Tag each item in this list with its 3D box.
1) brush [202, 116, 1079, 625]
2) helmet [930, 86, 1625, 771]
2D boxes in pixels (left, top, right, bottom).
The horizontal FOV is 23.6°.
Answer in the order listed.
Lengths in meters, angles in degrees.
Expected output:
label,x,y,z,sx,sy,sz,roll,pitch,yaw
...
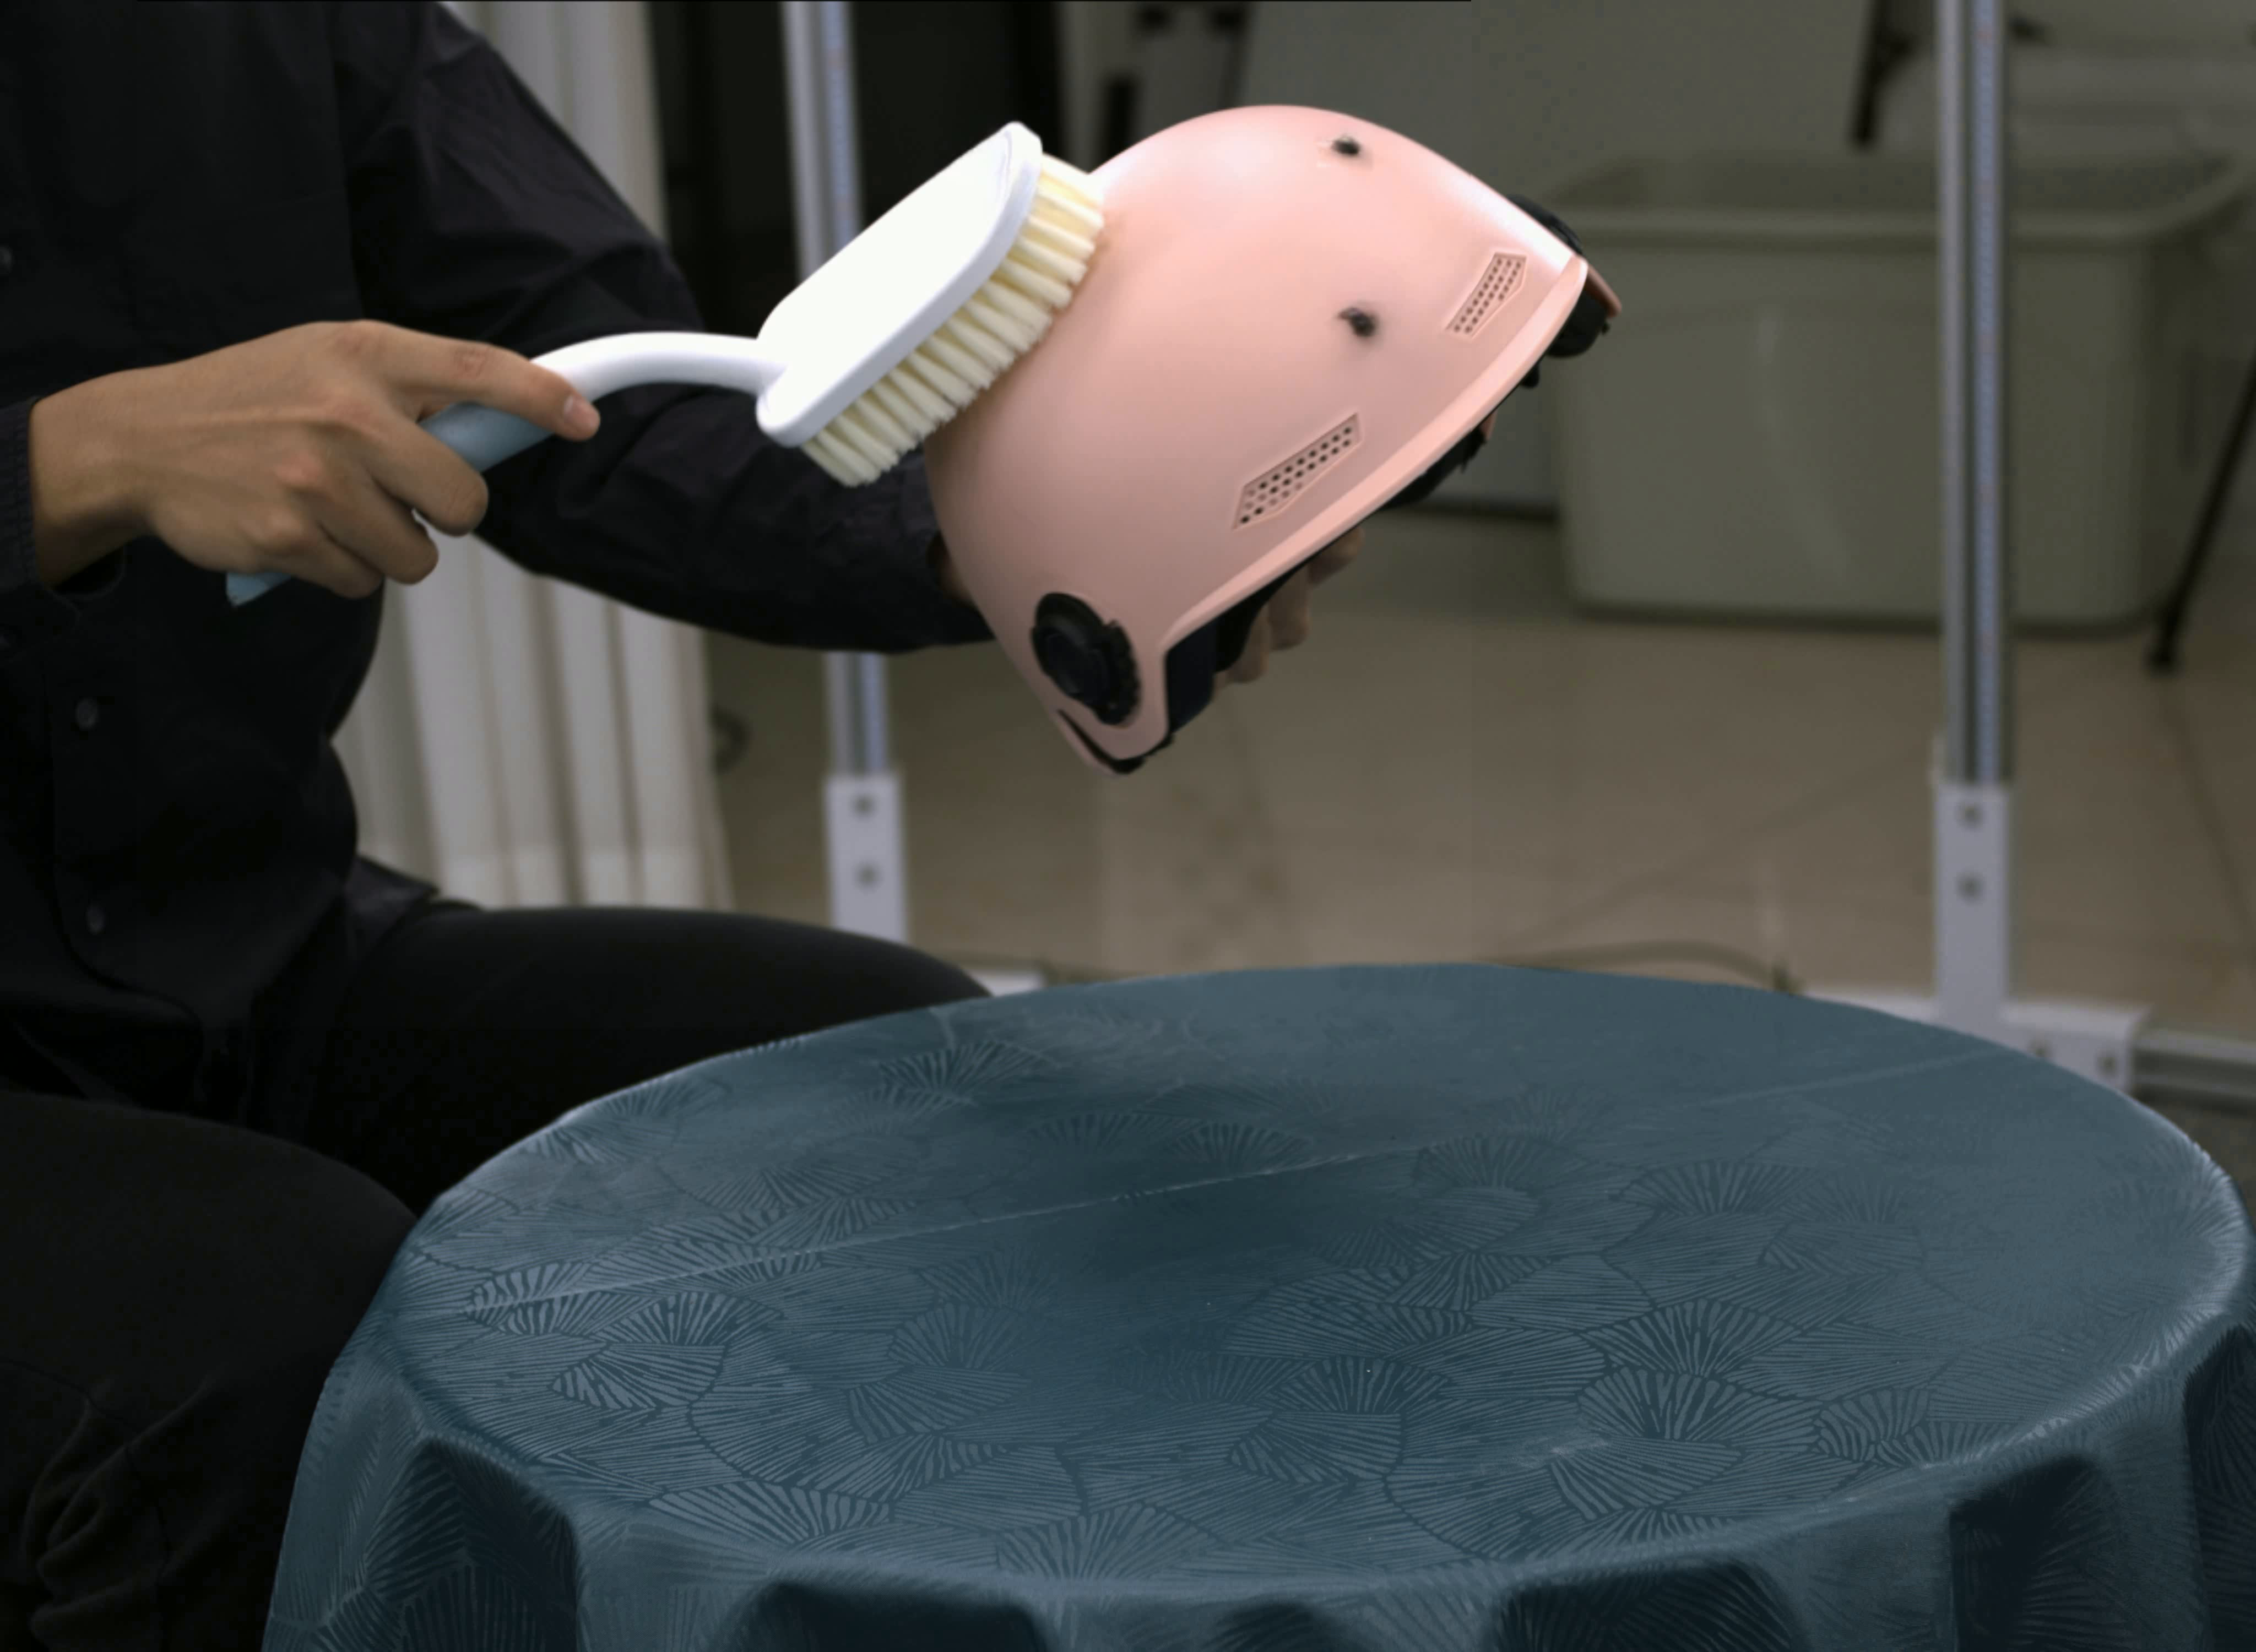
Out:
label,x,y,z,sx,sy,sz,roll,pitch,yaw
brush,-0.152,-0.127,1.745,0.325,0.085,0.082,-27,3,17
helmet,0.031,-0.149,1.757,0.232,0.159,0.267,-43,3,-17
